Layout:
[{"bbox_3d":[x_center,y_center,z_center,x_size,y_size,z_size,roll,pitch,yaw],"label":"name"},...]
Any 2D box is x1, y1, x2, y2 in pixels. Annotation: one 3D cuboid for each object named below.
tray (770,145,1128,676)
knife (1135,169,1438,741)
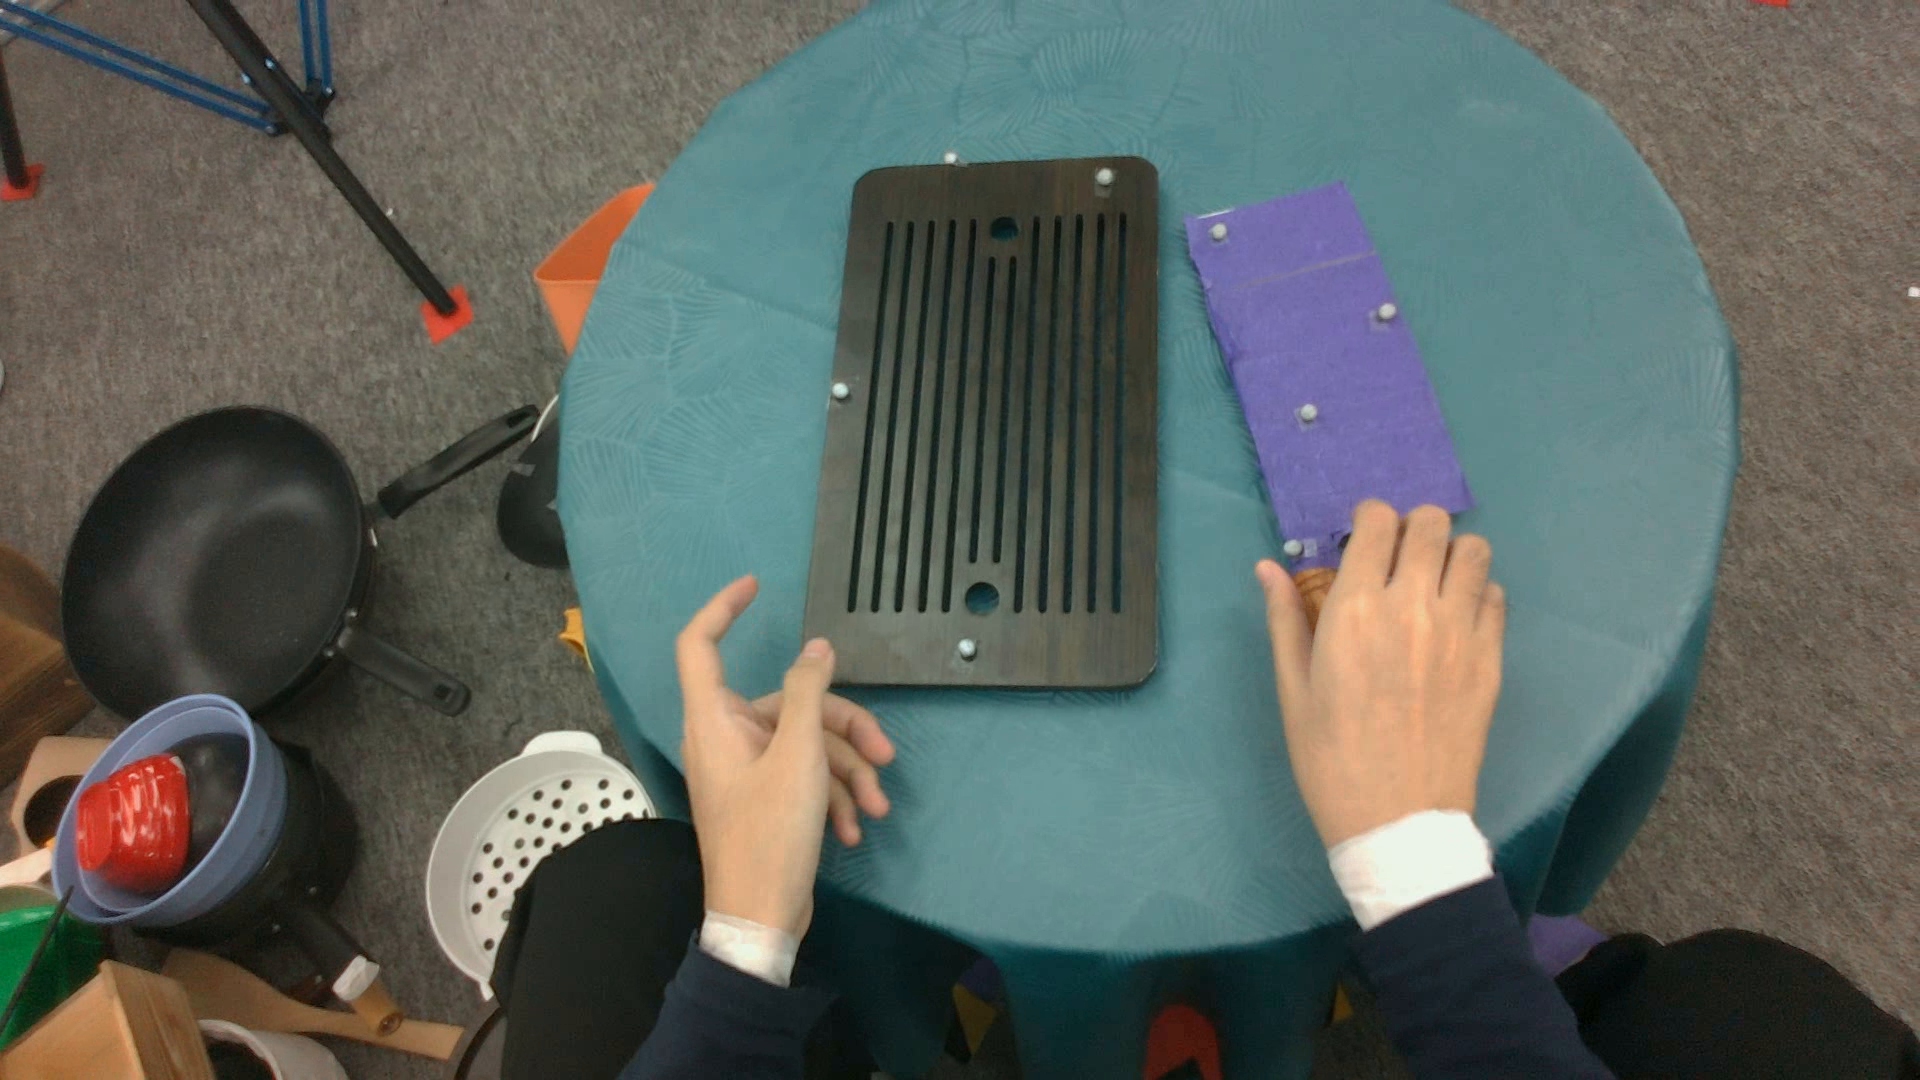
[{"bbox_3d":[0.000,-0.075,0.707,0.170,0.018,0.307,-1,65,7],"label":"tray"},{"bbox_3d":[0.174,-0.060,0.672,0.104,0.032,0.316,-14,63,1],"label":"knife"}]
